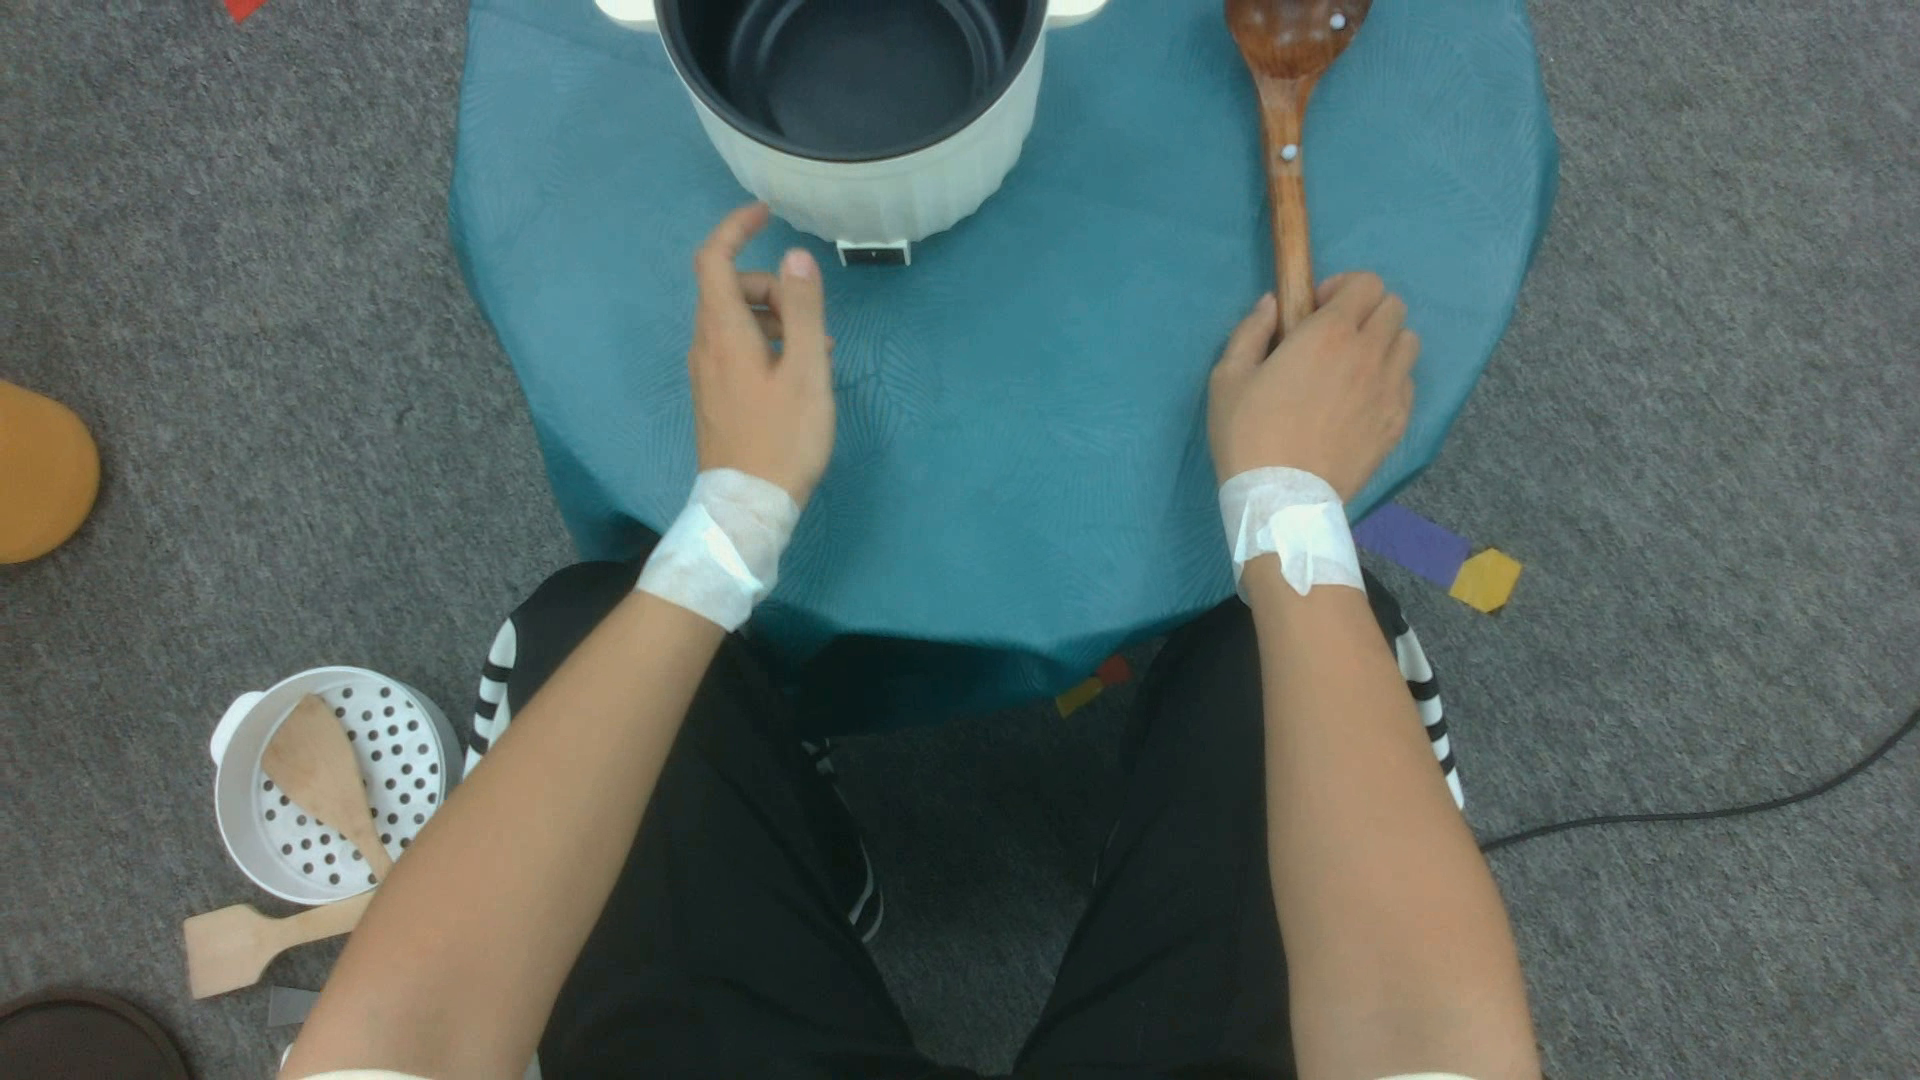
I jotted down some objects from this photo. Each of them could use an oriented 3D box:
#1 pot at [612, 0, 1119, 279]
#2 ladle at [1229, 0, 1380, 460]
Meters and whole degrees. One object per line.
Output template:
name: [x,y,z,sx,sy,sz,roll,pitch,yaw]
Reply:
pot: [-0.044,-0.245,0.711,0.240,0.142,0.190,-1,82,1]
ladle: [0.184,-0.182,0.718,0.082,0.076,0.274,3,75,-8]
